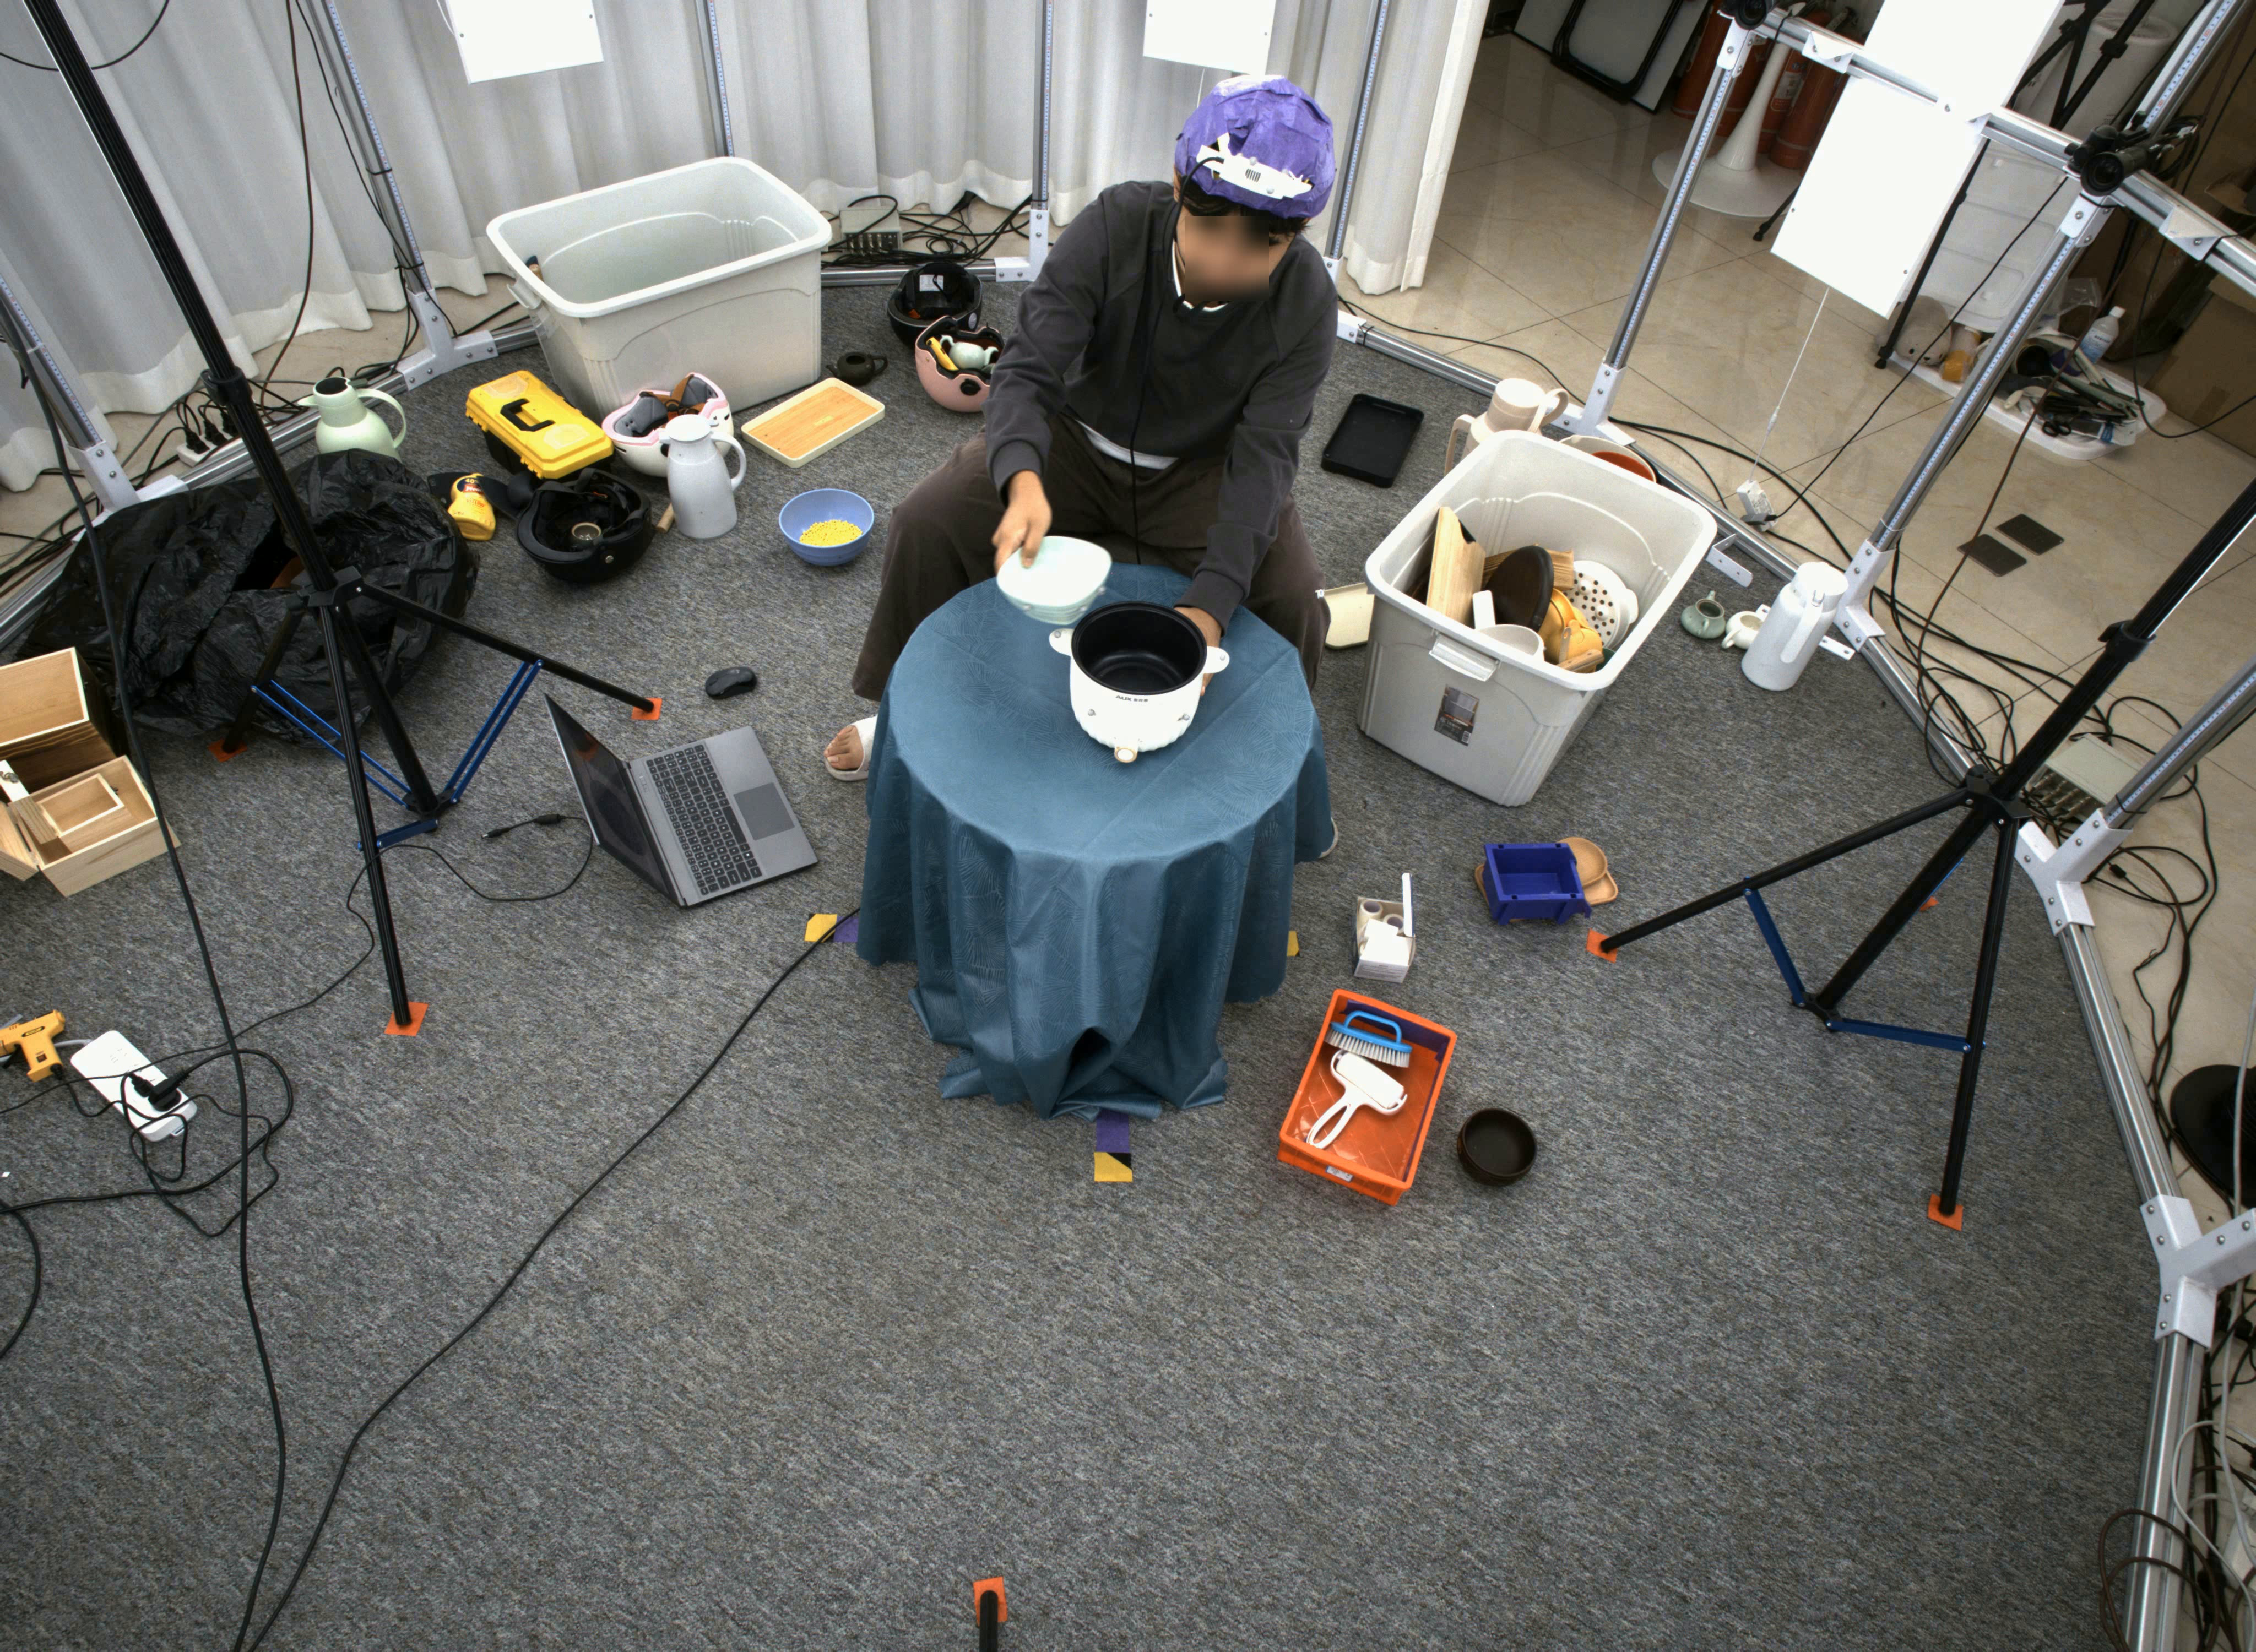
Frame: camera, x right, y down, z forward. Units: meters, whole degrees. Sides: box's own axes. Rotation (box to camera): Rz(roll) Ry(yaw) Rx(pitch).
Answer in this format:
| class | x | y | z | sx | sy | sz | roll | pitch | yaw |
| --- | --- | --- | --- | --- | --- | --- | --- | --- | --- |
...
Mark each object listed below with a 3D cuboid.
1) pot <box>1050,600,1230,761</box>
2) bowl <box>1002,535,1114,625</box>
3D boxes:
| class | x | y | z | sx | sy | sz | roll | pitch | yaw |
| --- | --- | --- | --- | --- | --- | --- | --- | --- | --- |
| pot | 0.014 | -0.194 | 1.744 | 0.240 | 0.139 | 0.195 | 5 | 46 | 2 |
| bowl | -0.090 | -0.320 | 1.710 | 0.151 | 0.057 | 0.155 | -3 | 47 | 3 |
